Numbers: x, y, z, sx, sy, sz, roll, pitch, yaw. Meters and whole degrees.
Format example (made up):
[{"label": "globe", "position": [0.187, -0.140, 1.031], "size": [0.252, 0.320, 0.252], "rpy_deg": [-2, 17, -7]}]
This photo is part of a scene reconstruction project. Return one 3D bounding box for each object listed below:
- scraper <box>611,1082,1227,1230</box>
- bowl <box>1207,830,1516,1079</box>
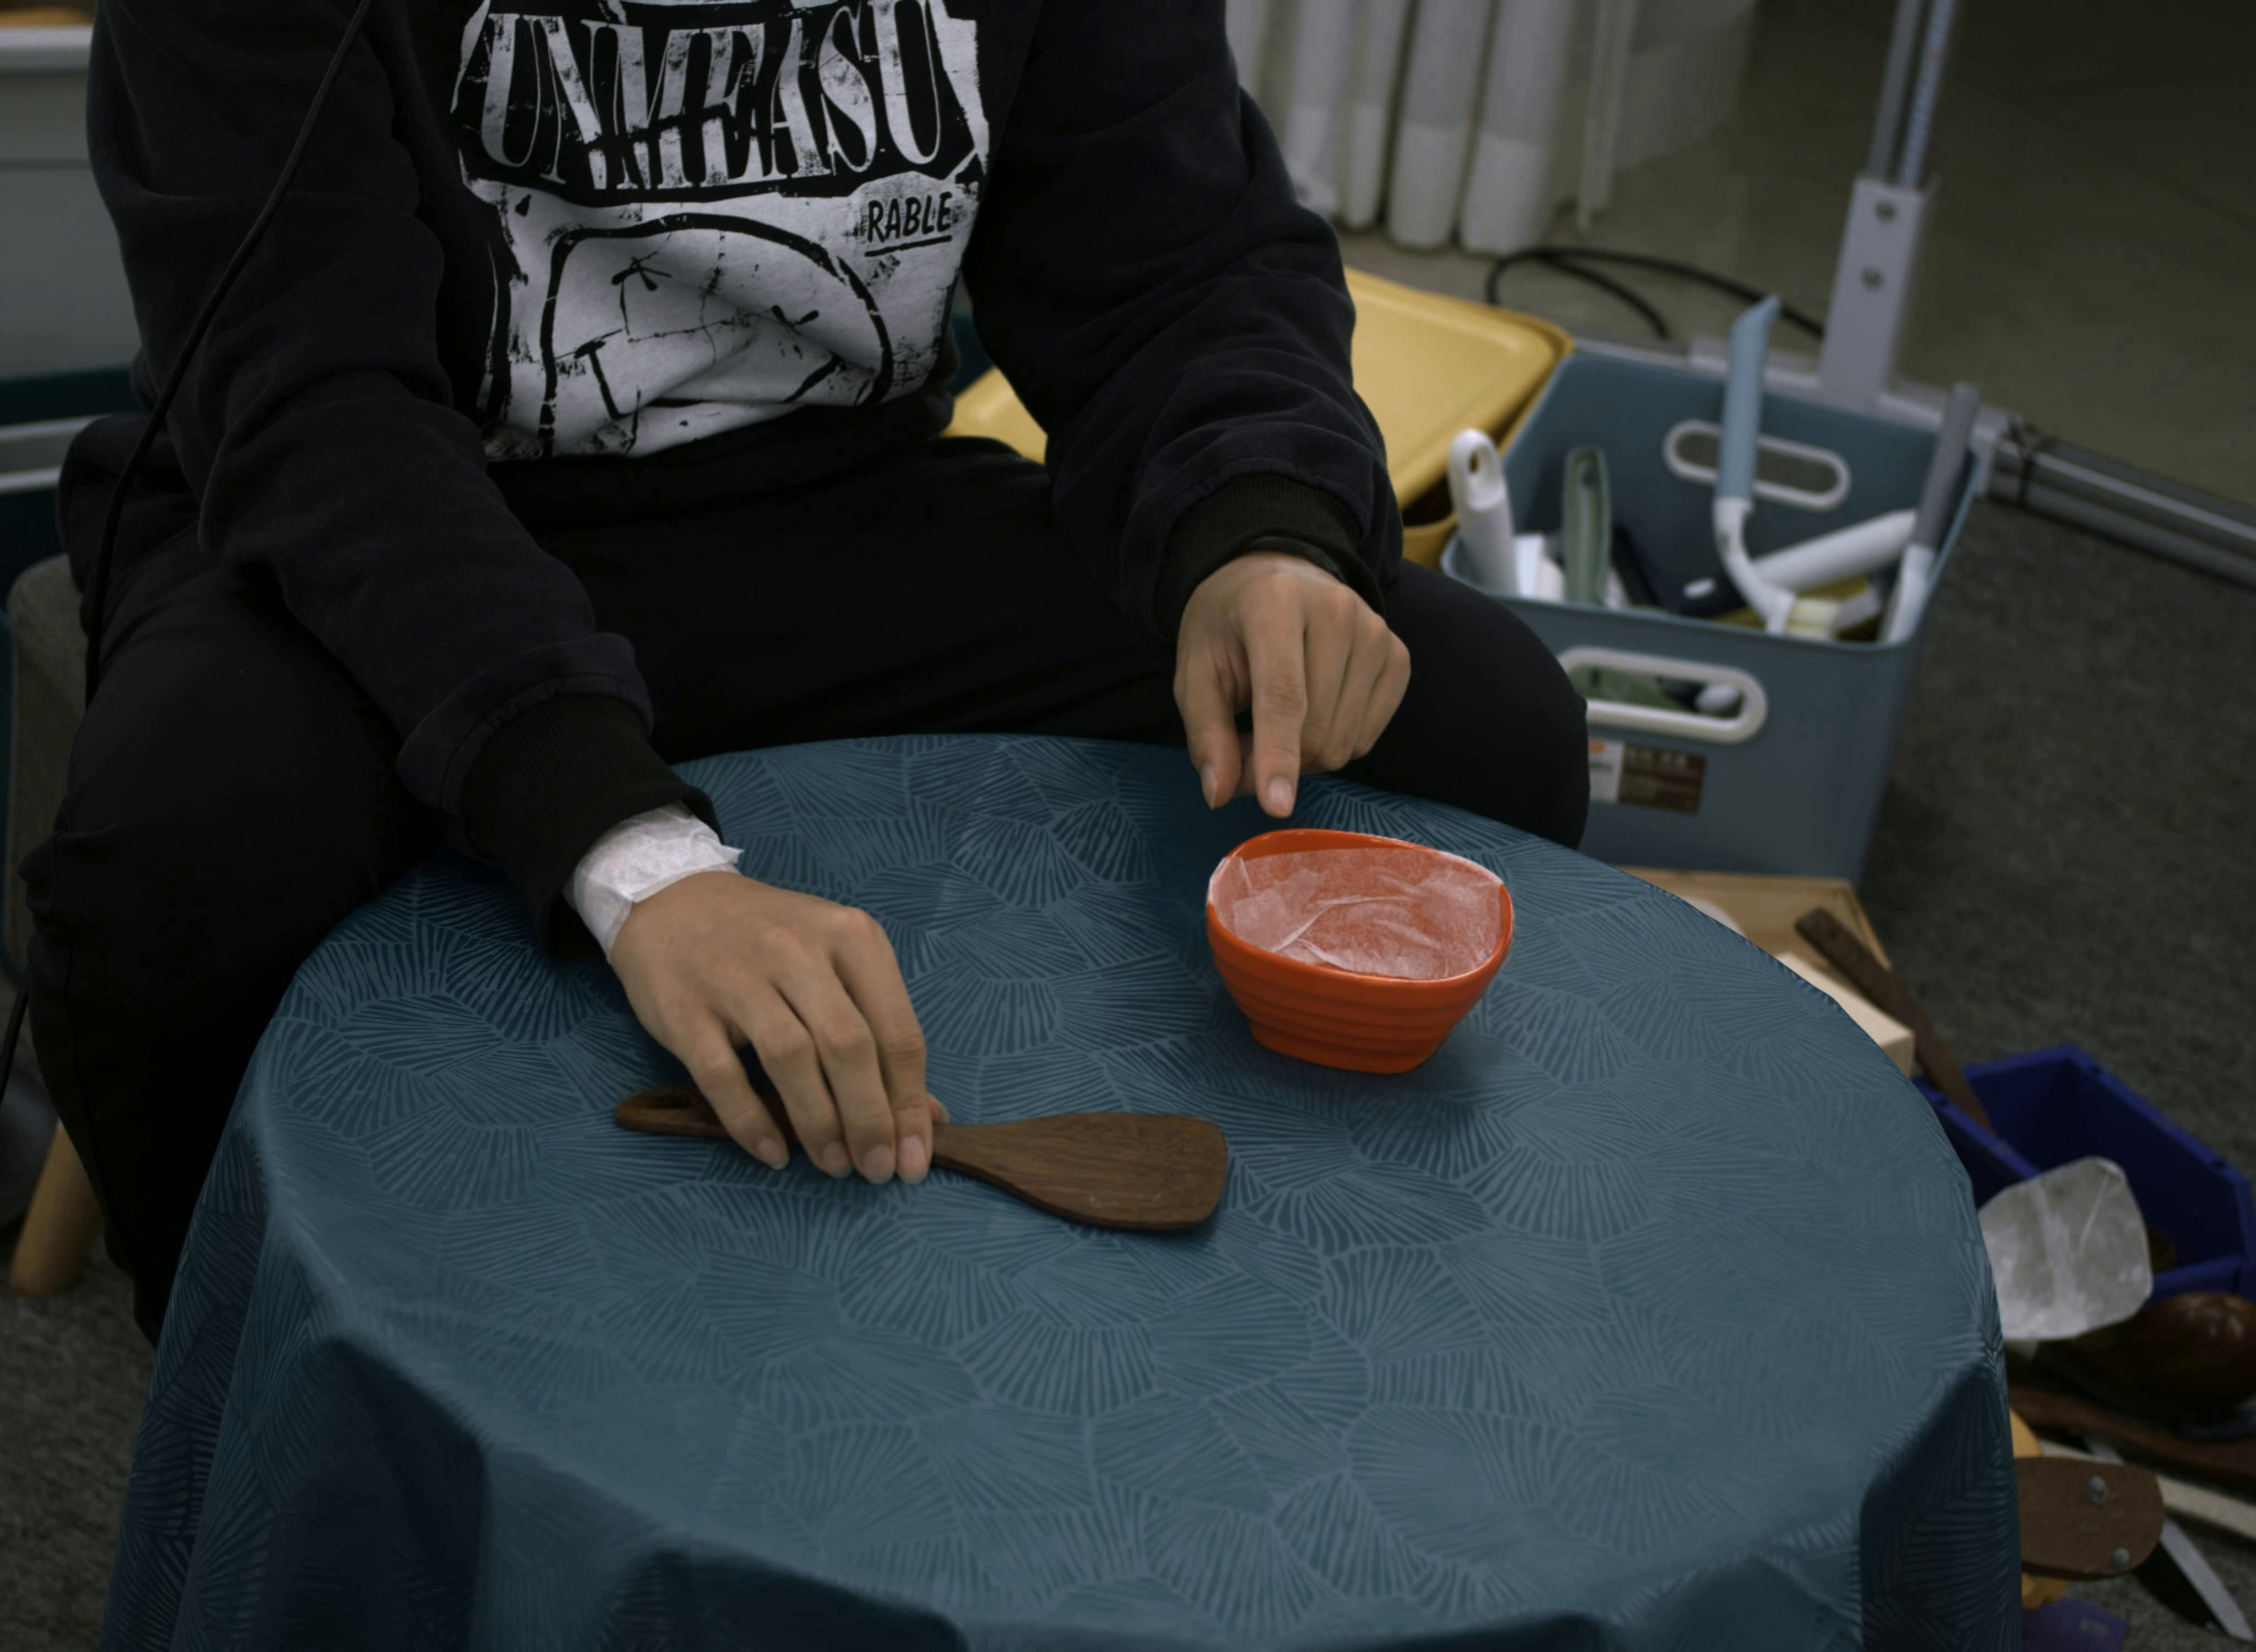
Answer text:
[{"label": "scraper", "position": [-0.071, 0.107, 1.808], "size": [0.211, 0.011, 0.076], "rpy_deg": [7, 26, 3]}, {"label": "bowl", "position": [0.081, 0.050, 1.910], "size": [0.118, 0.051, 0.119], "rpy_deg": [5, 28, -3]}]
